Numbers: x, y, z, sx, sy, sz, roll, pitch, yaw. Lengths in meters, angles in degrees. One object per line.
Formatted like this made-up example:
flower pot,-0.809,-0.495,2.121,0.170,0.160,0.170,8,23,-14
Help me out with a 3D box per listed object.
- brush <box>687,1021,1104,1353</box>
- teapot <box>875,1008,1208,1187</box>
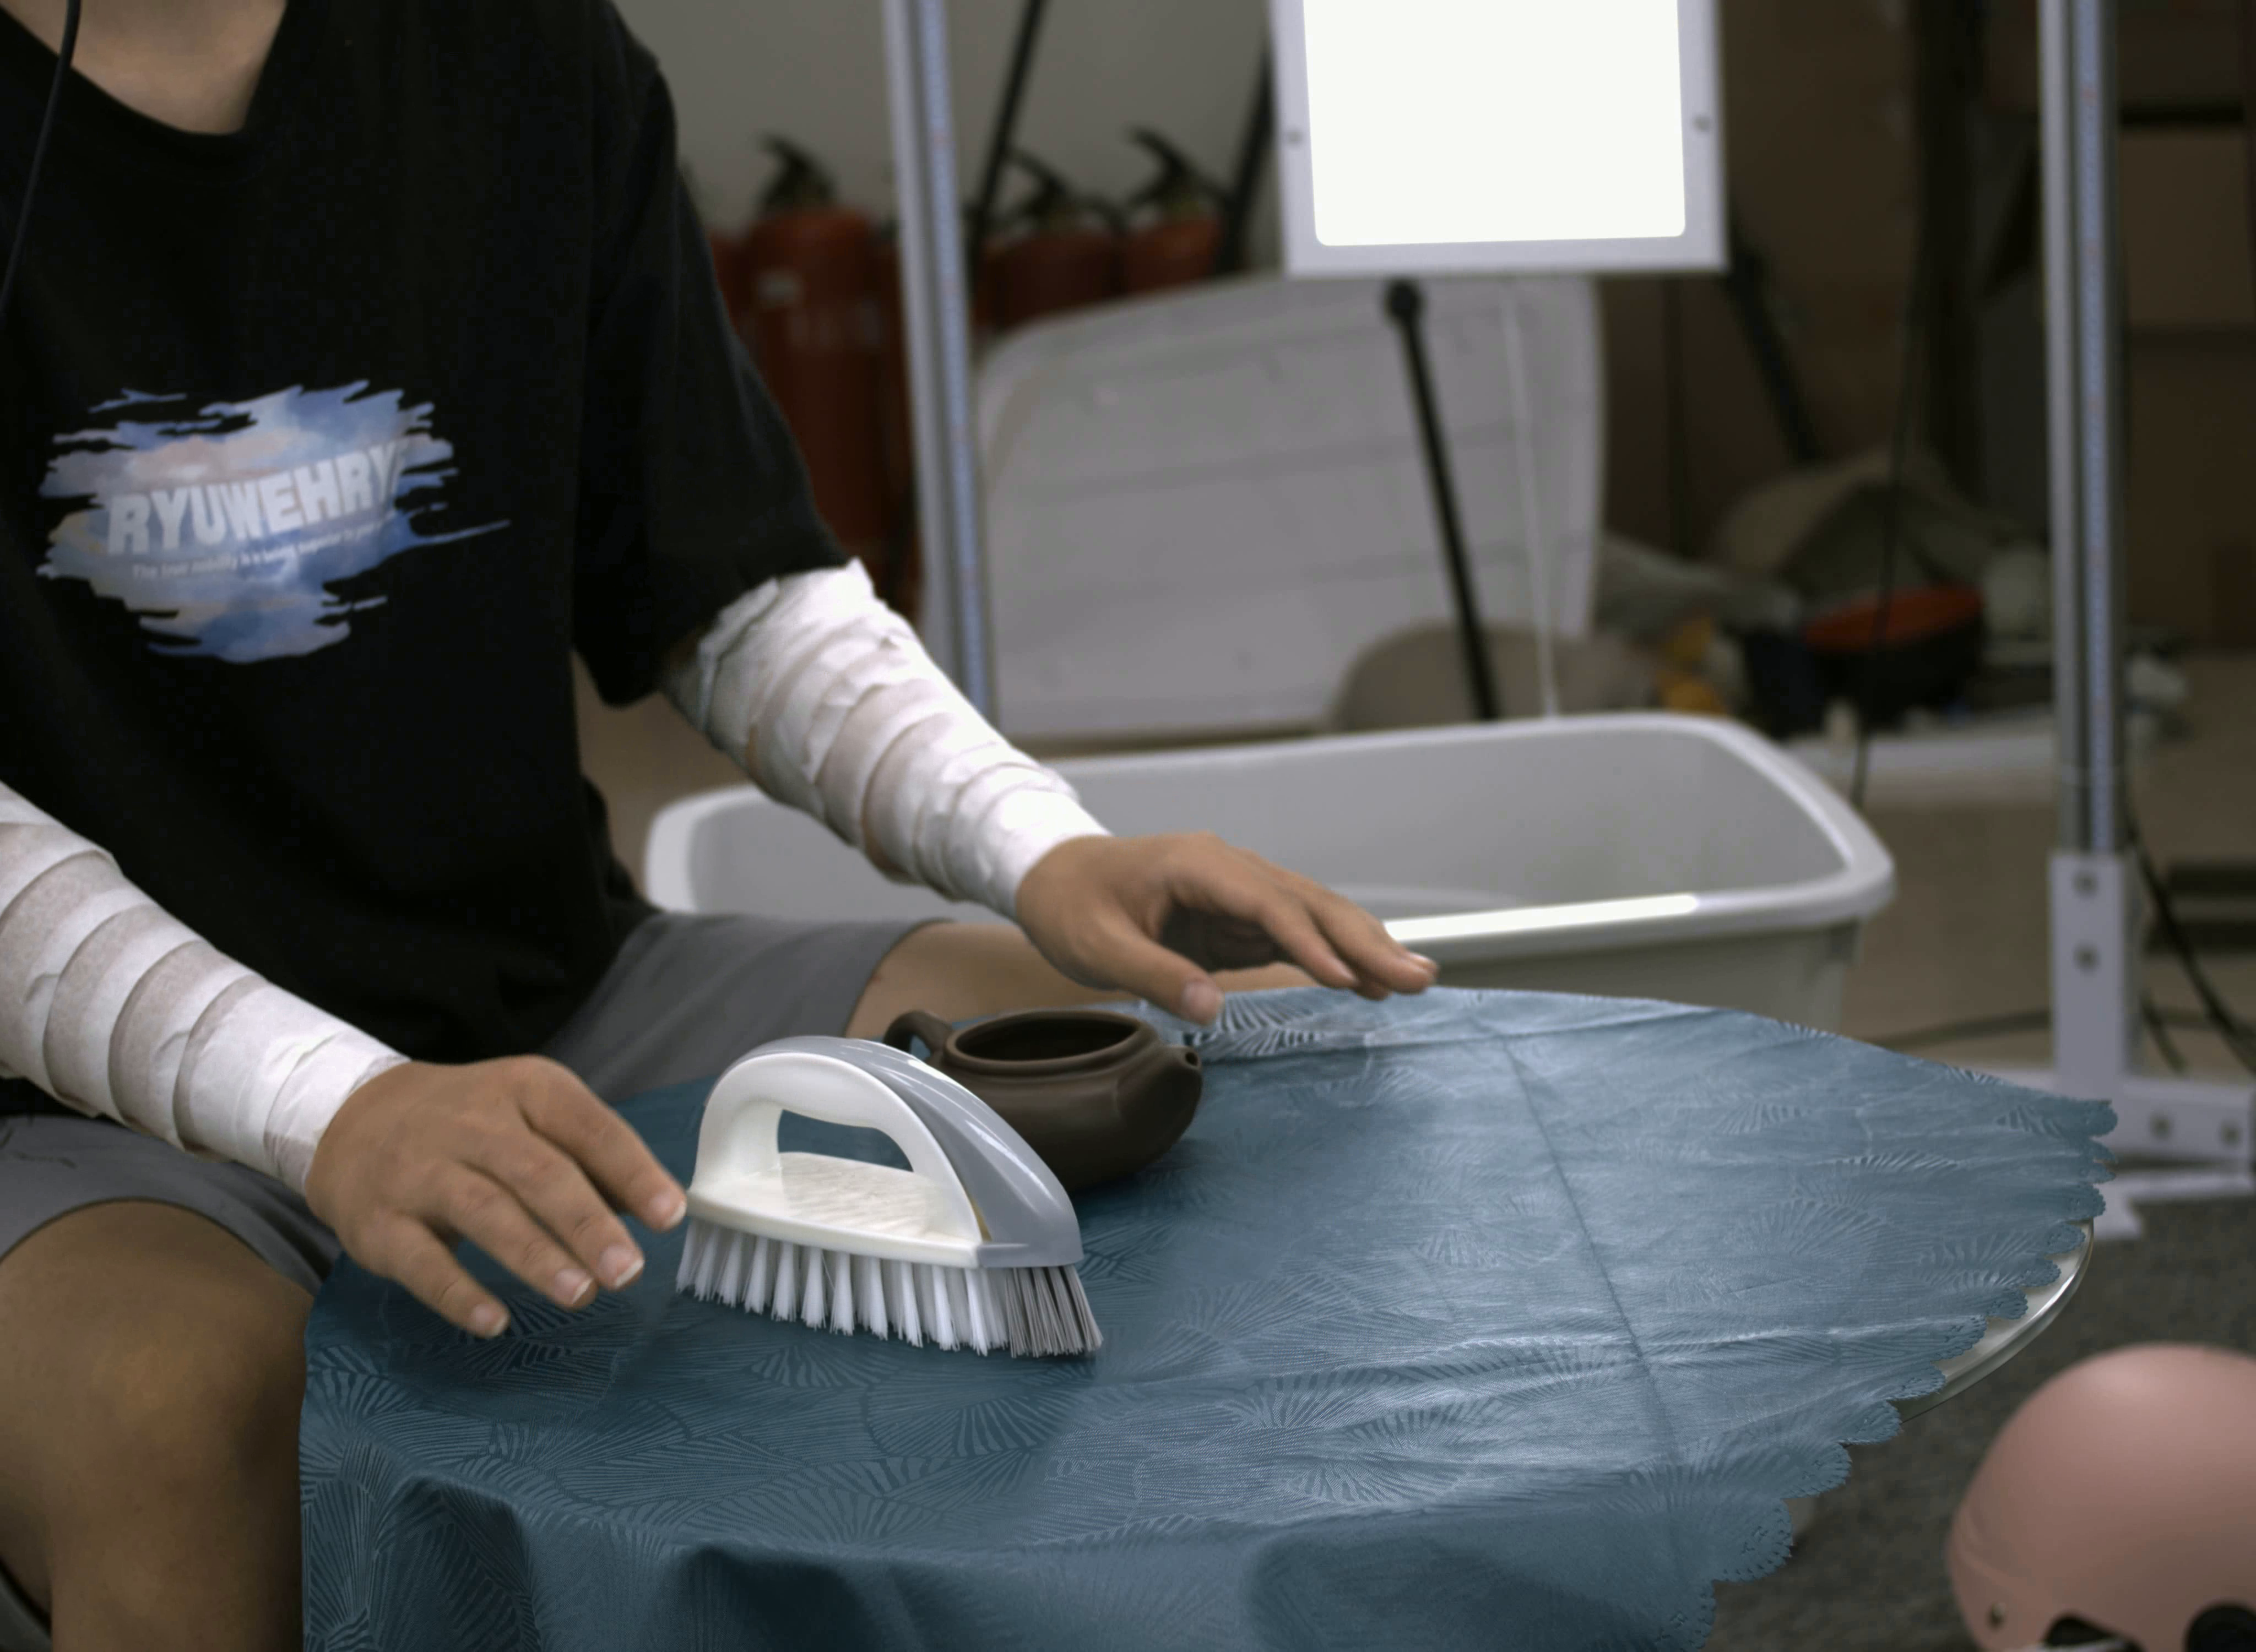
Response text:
brush,-0.075,0.114,1.785,0.060,0.094,0.179,-22,23,-40
teapot,-0.031,0.093,1.932,0.157,0.054,0.100,6,16,39
